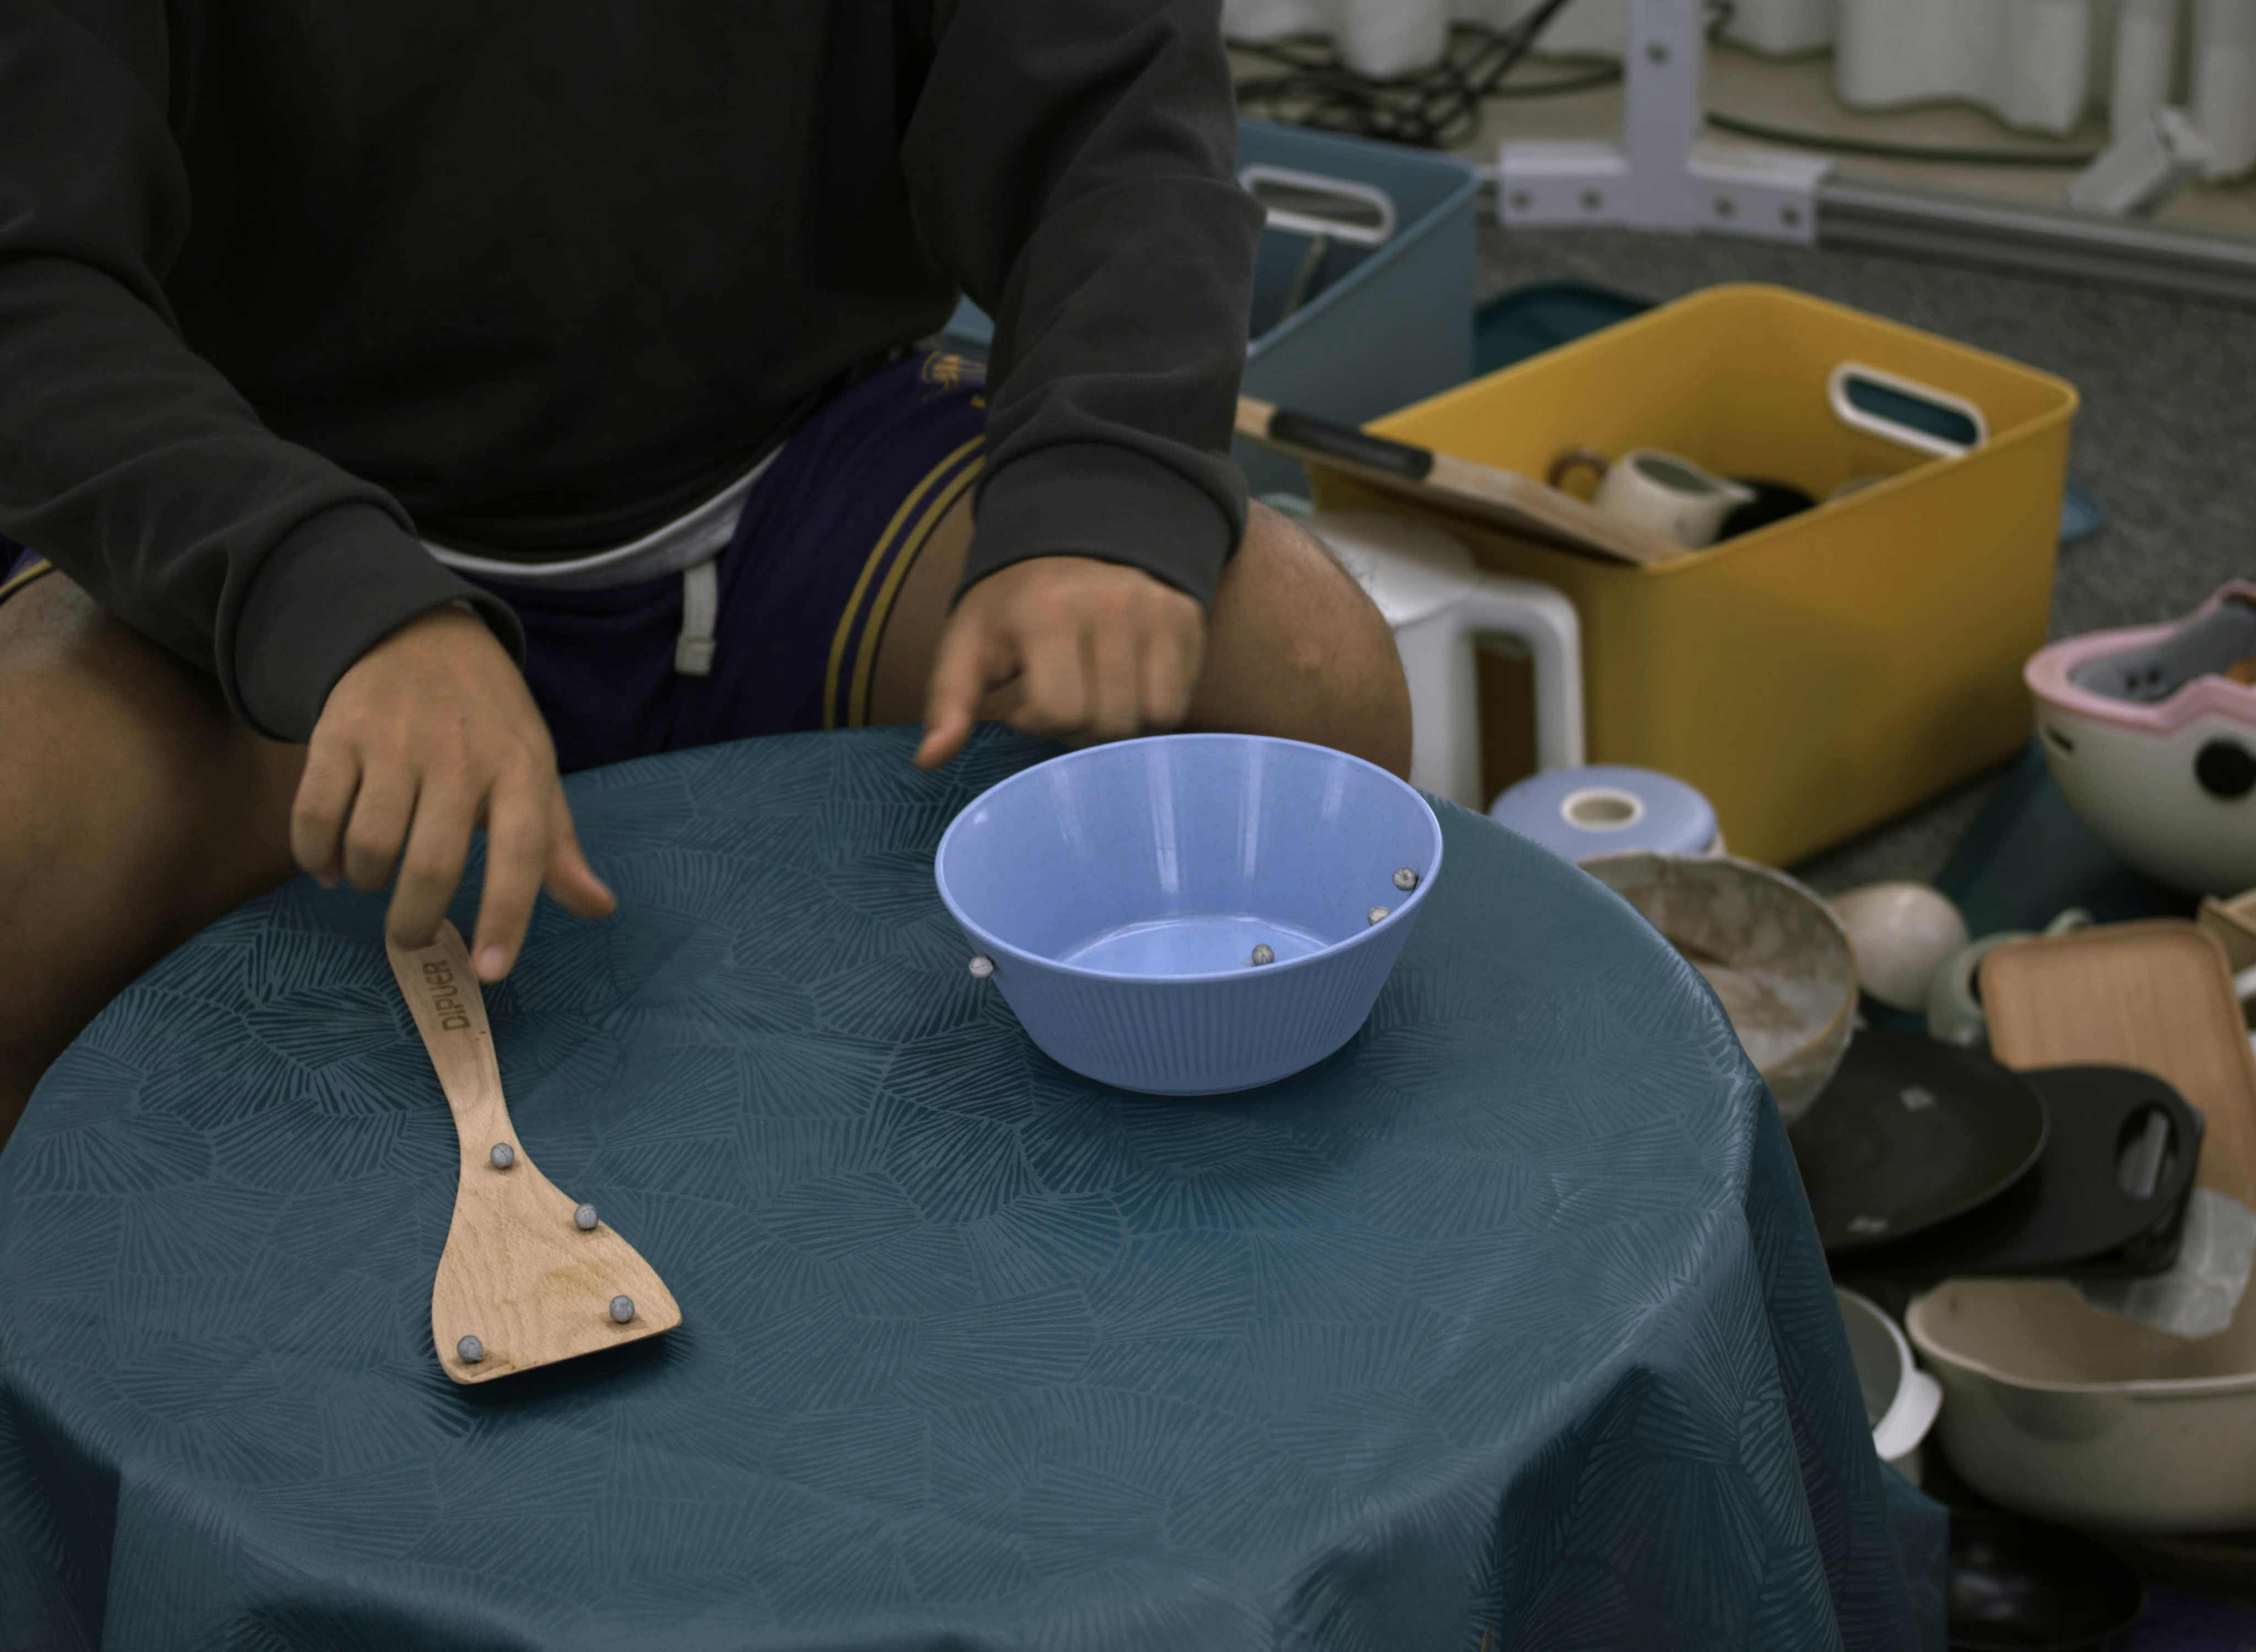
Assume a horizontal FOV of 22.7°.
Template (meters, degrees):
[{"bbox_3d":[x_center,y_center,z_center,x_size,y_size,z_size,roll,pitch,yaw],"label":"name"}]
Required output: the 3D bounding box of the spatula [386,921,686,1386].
[{"bbox_3d":[-0.215,0.104,1.900,0.080,0.016,0.331,-10,28,-12],"label":"spatula"}]

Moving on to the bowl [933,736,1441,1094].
[{"bbox_3d":[0.022,0.036,1.949,0.175,0.069,0.179,-2,27,2],"label":"bowl"}]
